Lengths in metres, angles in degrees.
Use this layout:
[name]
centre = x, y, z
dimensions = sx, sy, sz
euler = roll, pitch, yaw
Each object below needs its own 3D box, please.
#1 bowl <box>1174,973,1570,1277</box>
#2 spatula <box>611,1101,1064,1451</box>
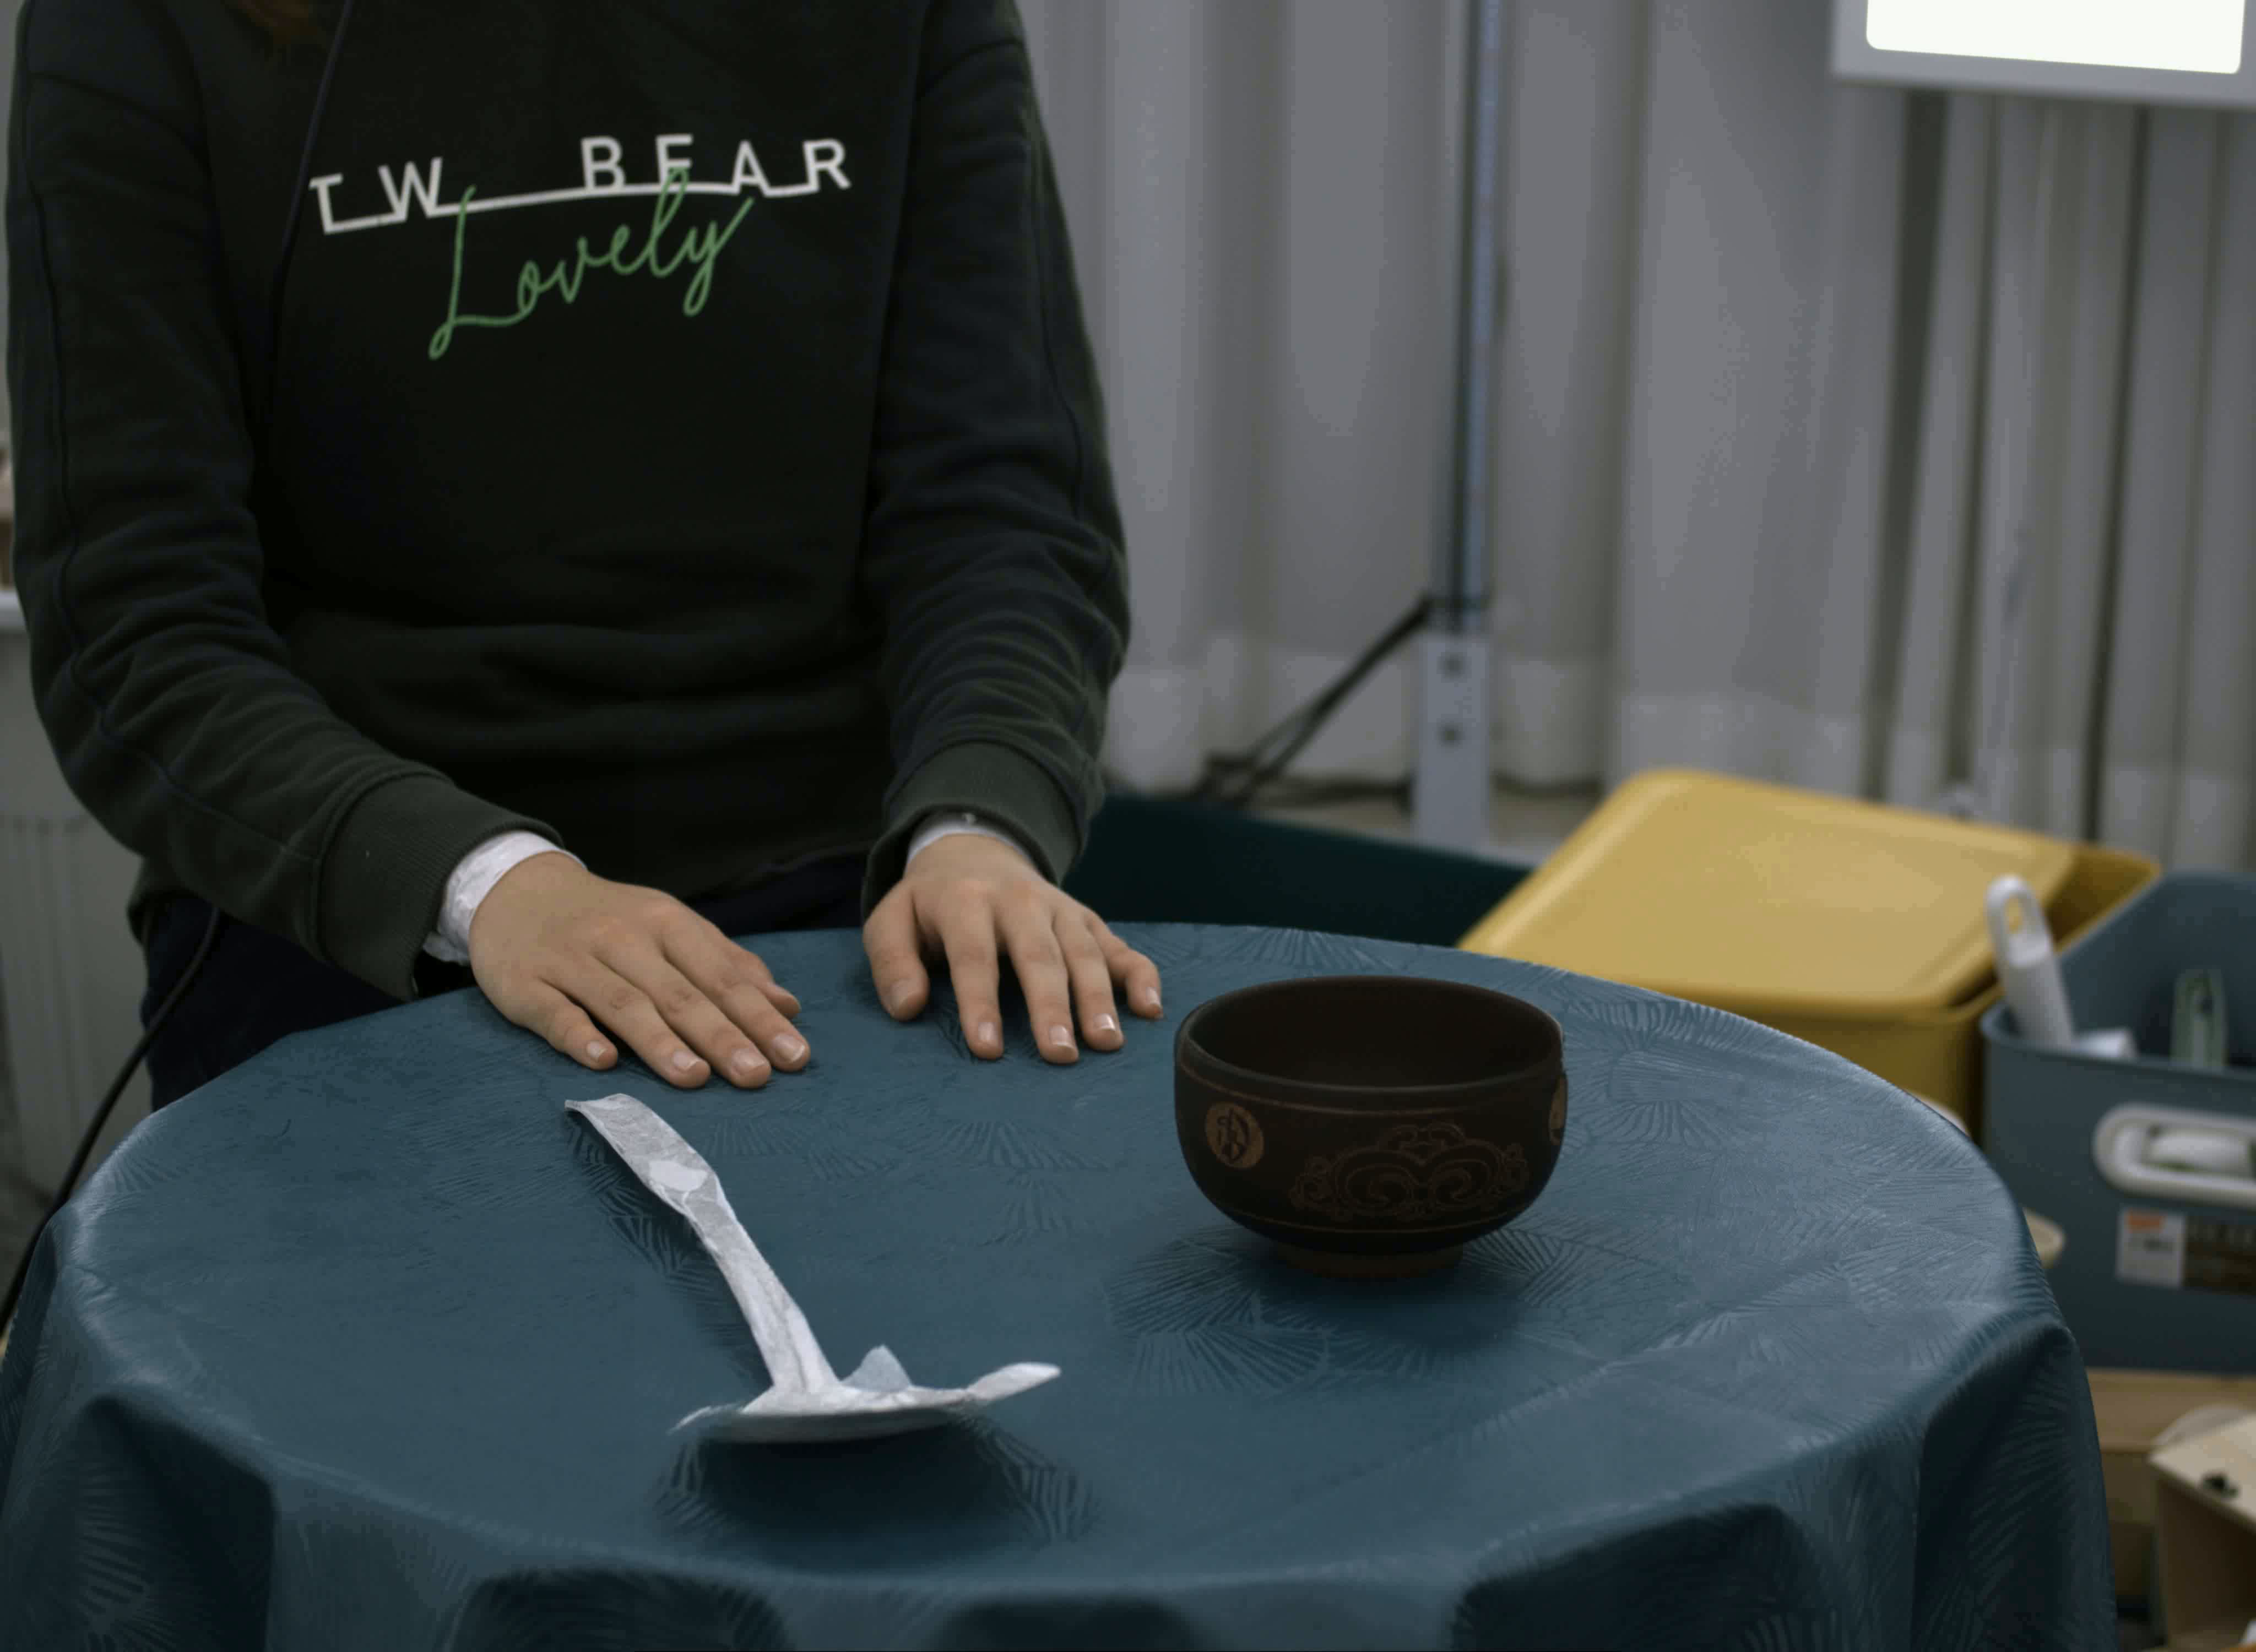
[bowl]
centre = 0.072, 0.092, 1.569
dimensions = 0.117, 0.070, 0.117
euler = 2, 15, 0
[spatula]
centre = -0.109, 0.121, 1.522
dimensions = 0.099, 0.045, 0.361
euler = -6, 17, -16
